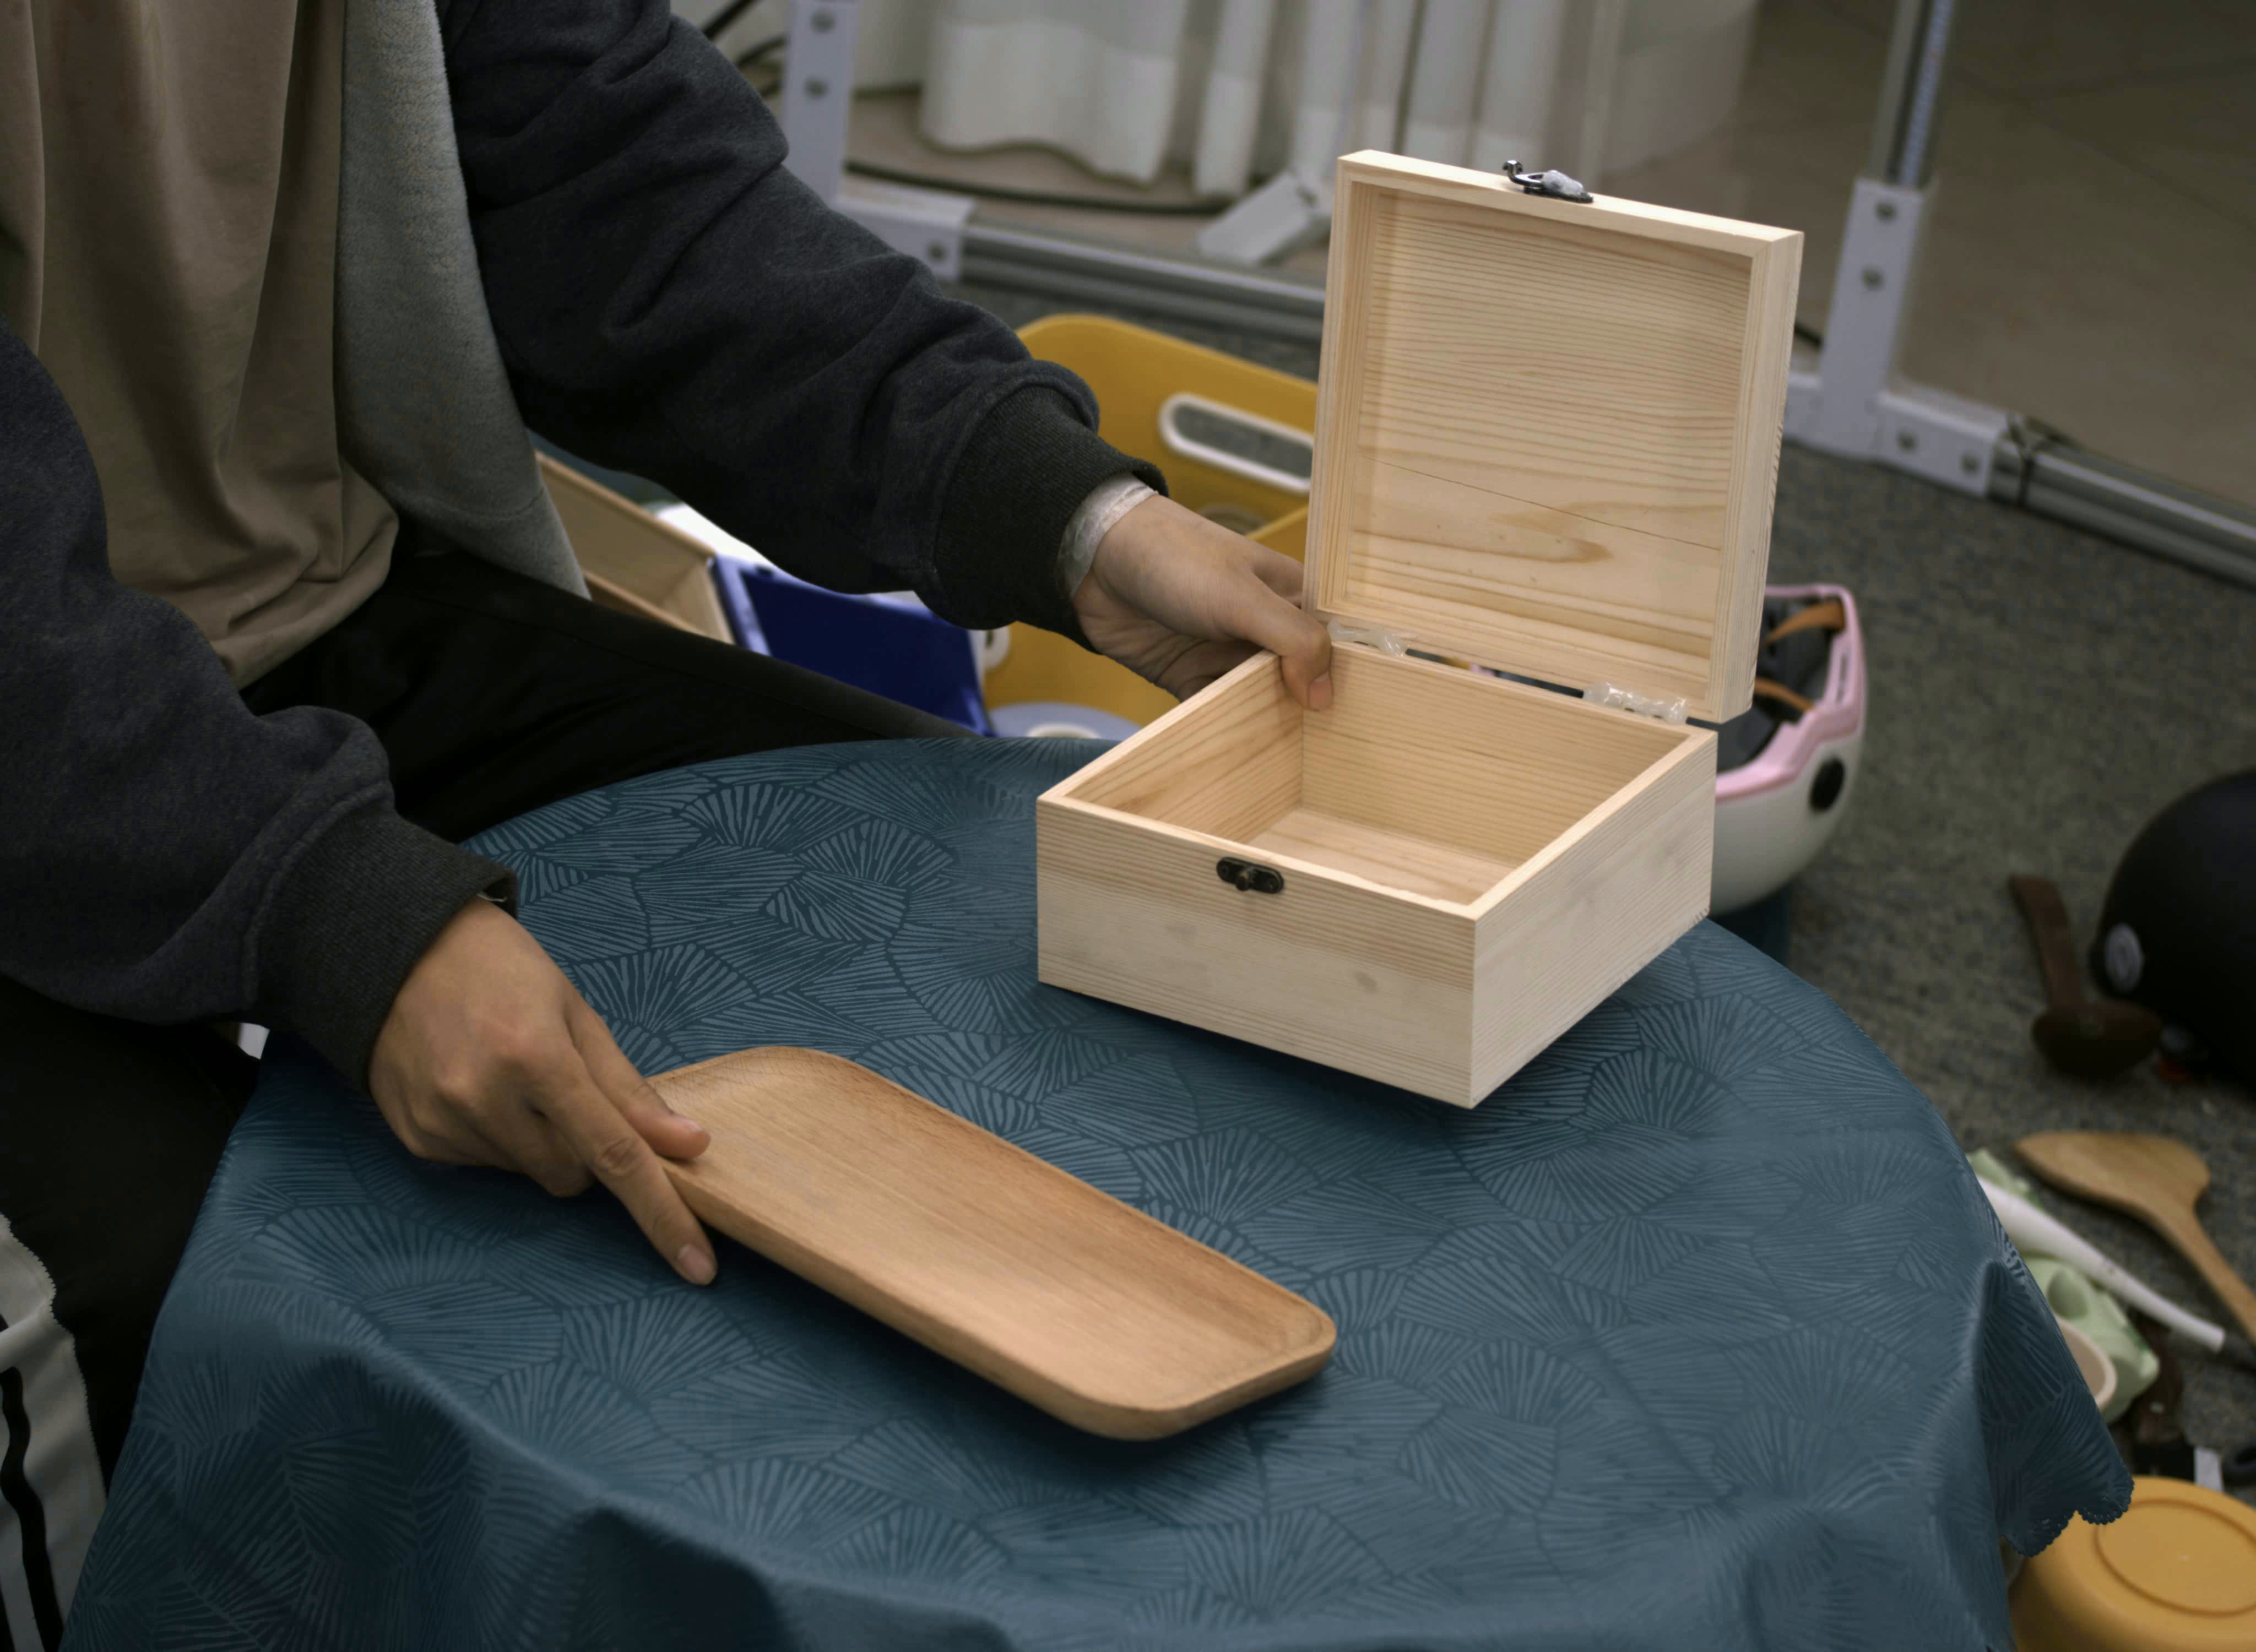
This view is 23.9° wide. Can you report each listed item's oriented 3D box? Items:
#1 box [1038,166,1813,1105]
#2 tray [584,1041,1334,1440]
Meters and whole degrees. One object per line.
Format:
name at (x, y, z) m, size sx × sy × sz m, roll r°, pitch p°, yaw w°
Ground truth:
box at (0.108, -0.079, 1.925) m, size 0.182 × 0.252 × 0.264 m, roll 12°, pitch 27°, yaw 30°
tray at (-0.058, 0.133, 1.733) m, size 0.252 × 0.023 × 0.130 m, roll 25°, pitch 21°, yaw 33°
